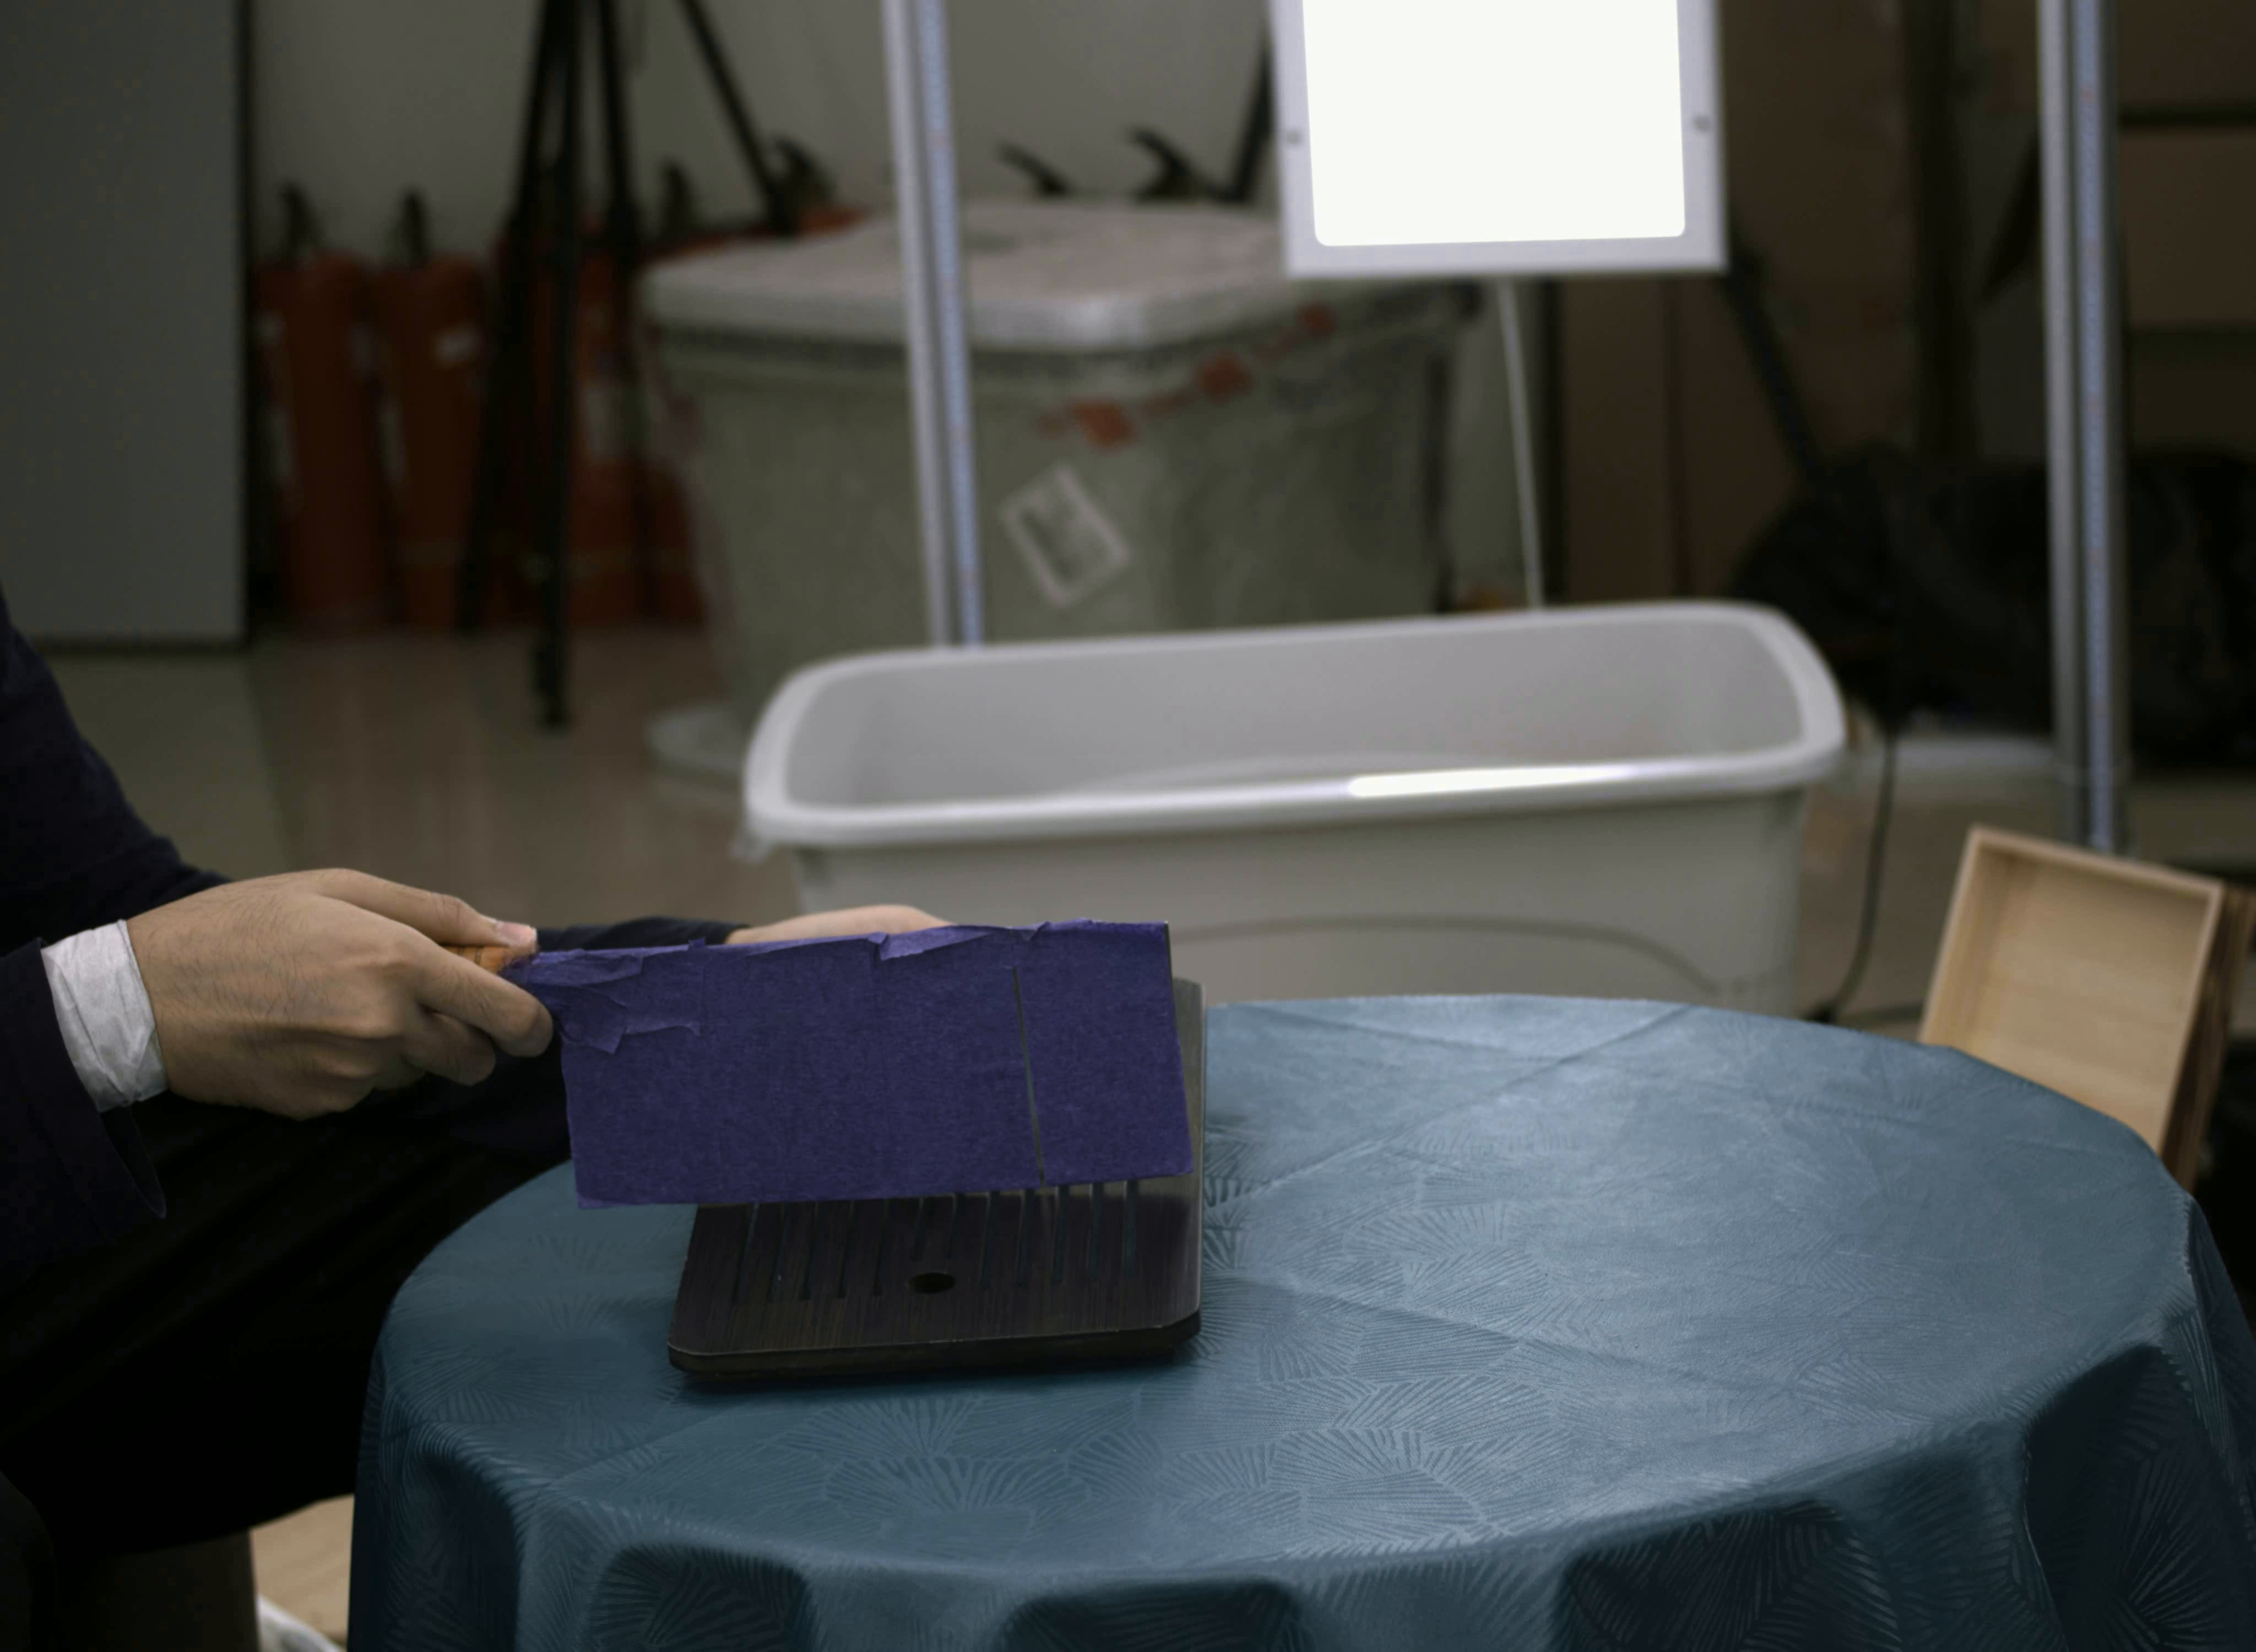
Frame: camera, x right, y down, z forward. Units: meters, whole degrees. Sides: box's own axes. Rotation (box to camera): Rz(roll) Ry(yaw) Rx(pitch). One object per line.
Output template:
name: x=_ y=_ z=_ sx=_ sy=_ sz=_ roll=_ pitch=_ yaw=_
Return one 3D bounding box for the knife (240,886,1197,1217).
knife: x=-0.136 y=0.081 z=1.824 sx=0.317 sy=0.104 sz=0.032 roll=-4 pitch=13 yaw=11

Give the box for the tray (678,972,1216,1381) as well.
tray: x=-0.054 y=0.116 z=1.867 sx=0.170 sy=0.019 sz=0.304 roll=-5 pitch=20 yaw=4
